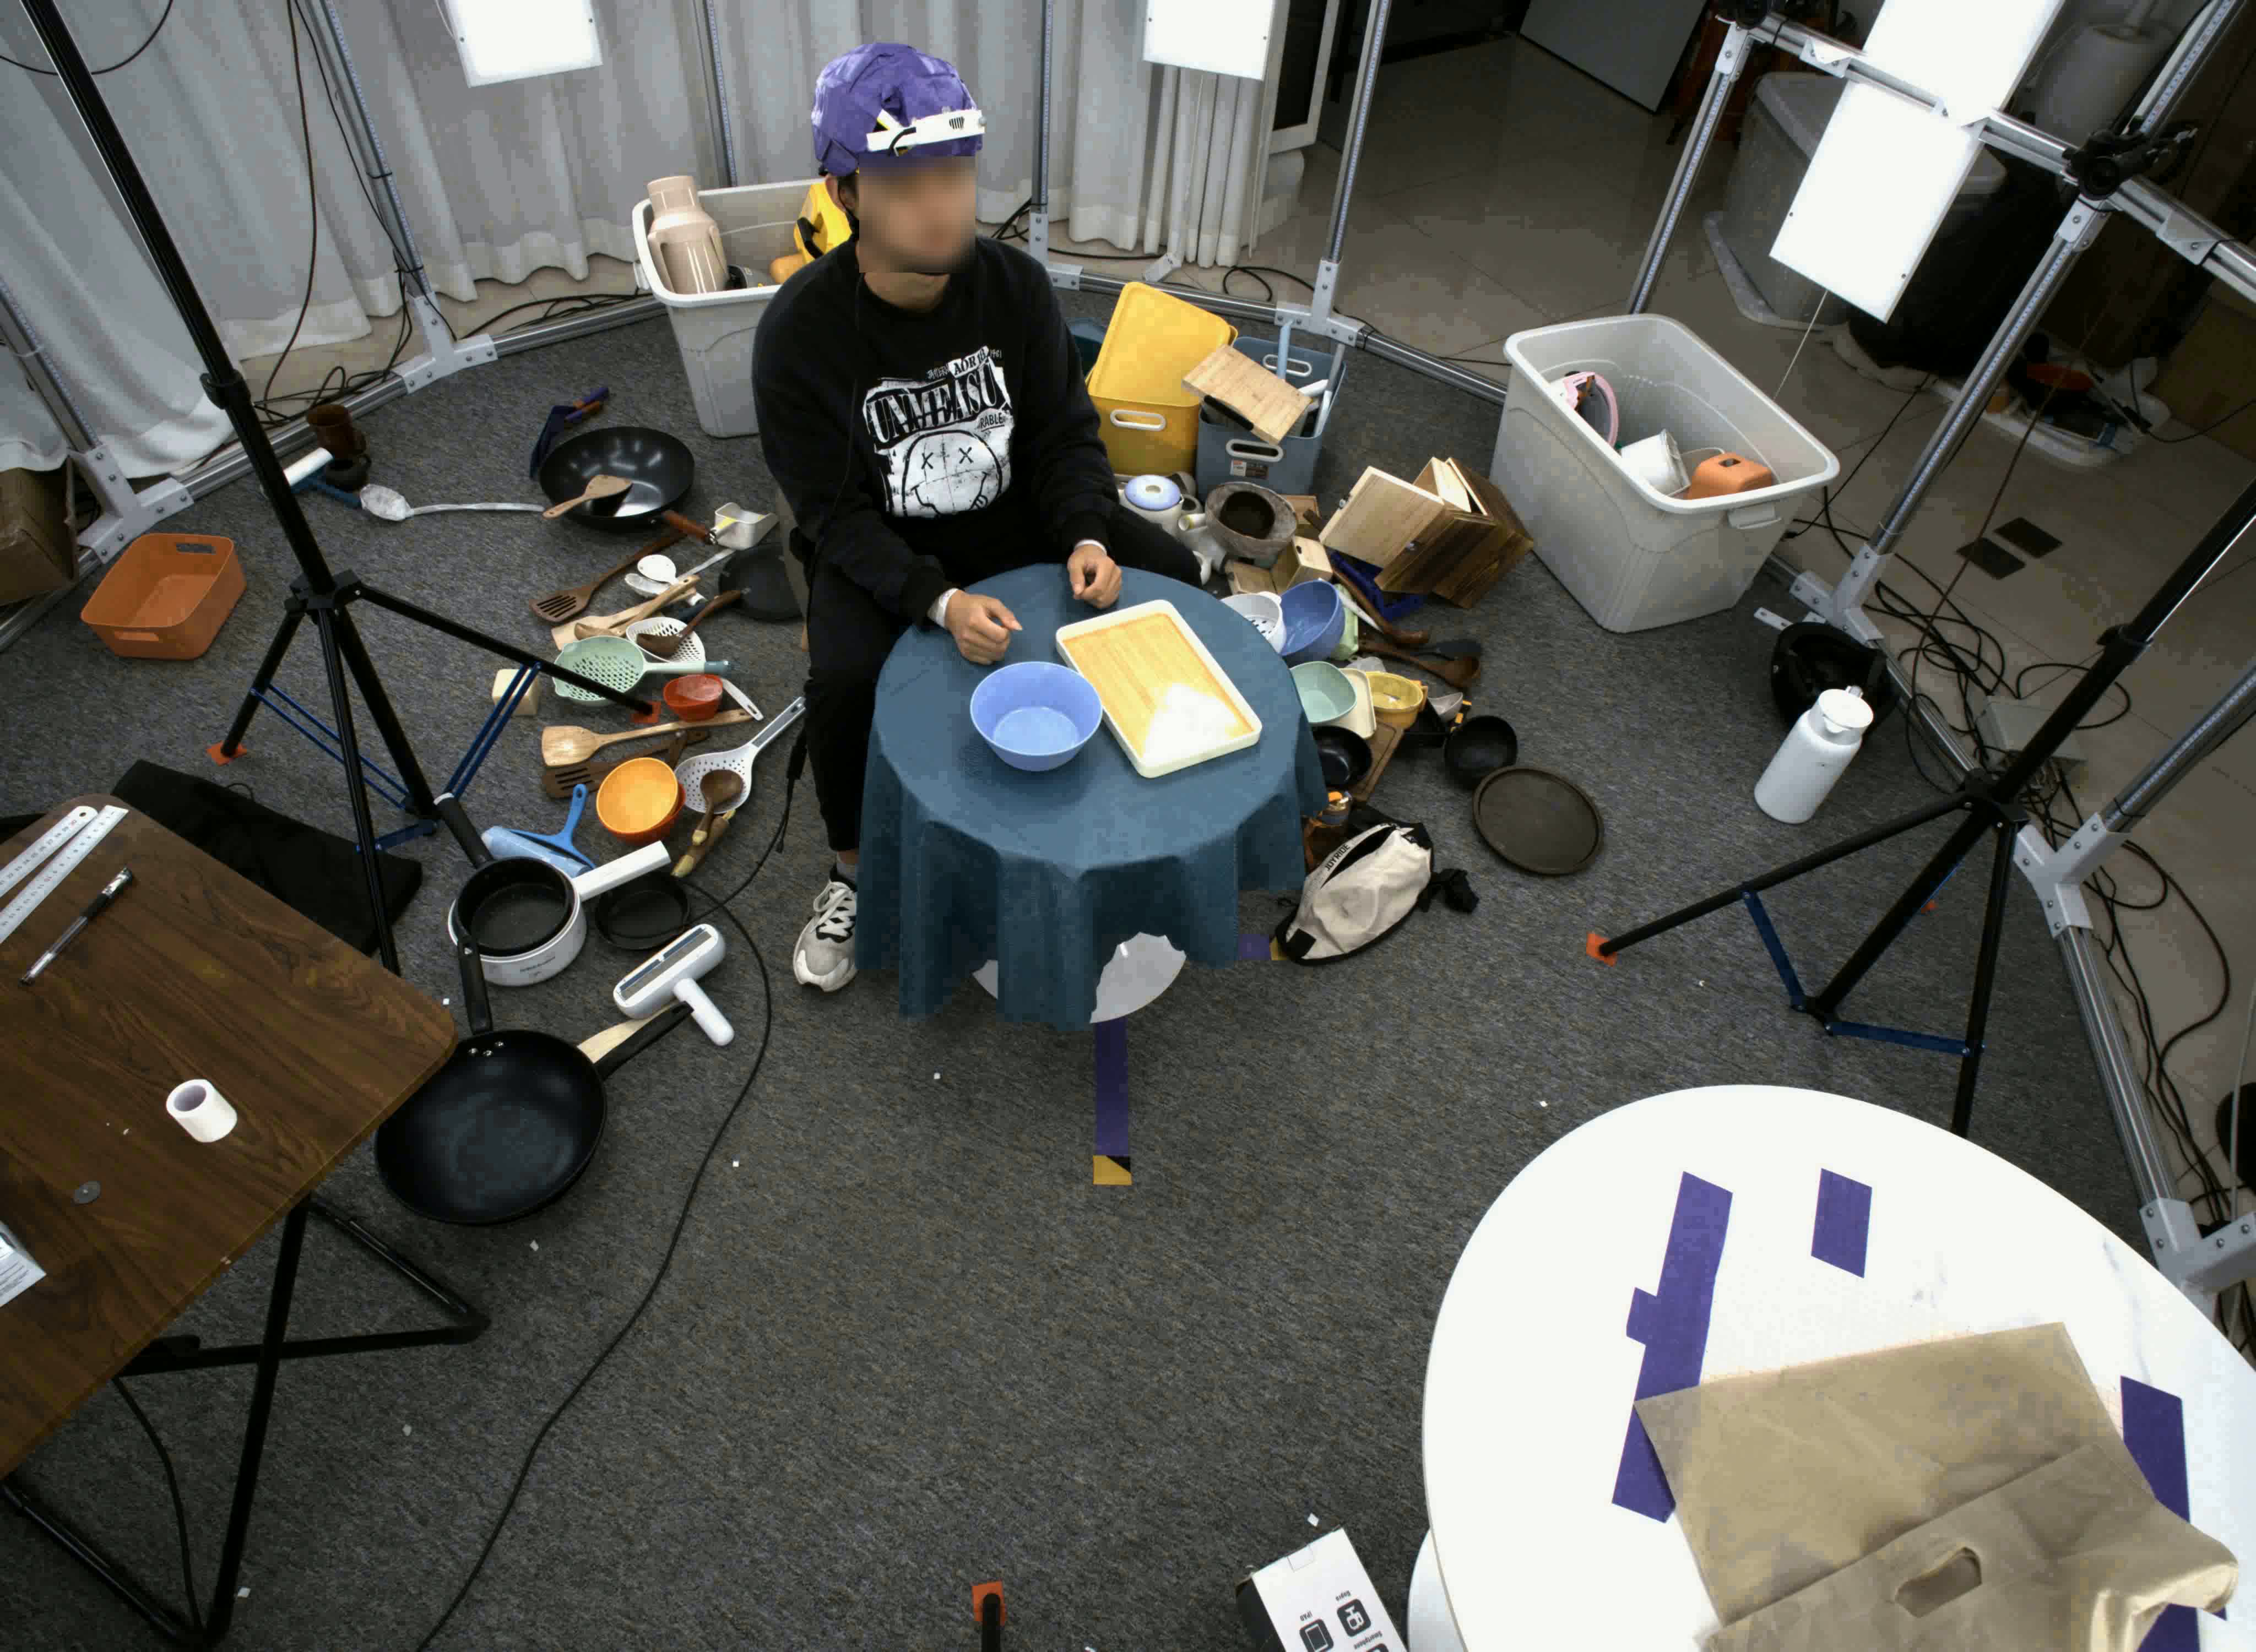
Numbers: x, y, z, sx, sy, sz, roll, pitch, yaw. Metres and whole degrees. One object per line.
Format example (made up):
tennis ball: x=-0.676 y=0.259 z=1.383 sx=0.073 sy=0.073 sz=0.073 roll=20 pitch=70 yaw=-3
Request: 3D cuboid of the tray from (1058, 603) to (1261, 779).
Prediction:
tray: x=0.041 y=-0.201 z=1.845 sx=0.192 sy=0.027 sz=0.307 roll=-19 pitch=53 yaw=-19

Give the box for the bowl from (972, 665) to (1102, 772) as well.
bowl: x=-0.124 y=-0.137 z=1.749 sx=0.176 sy=0.068 sz=0.180 roll=2 pitch=48 yaw=-3
